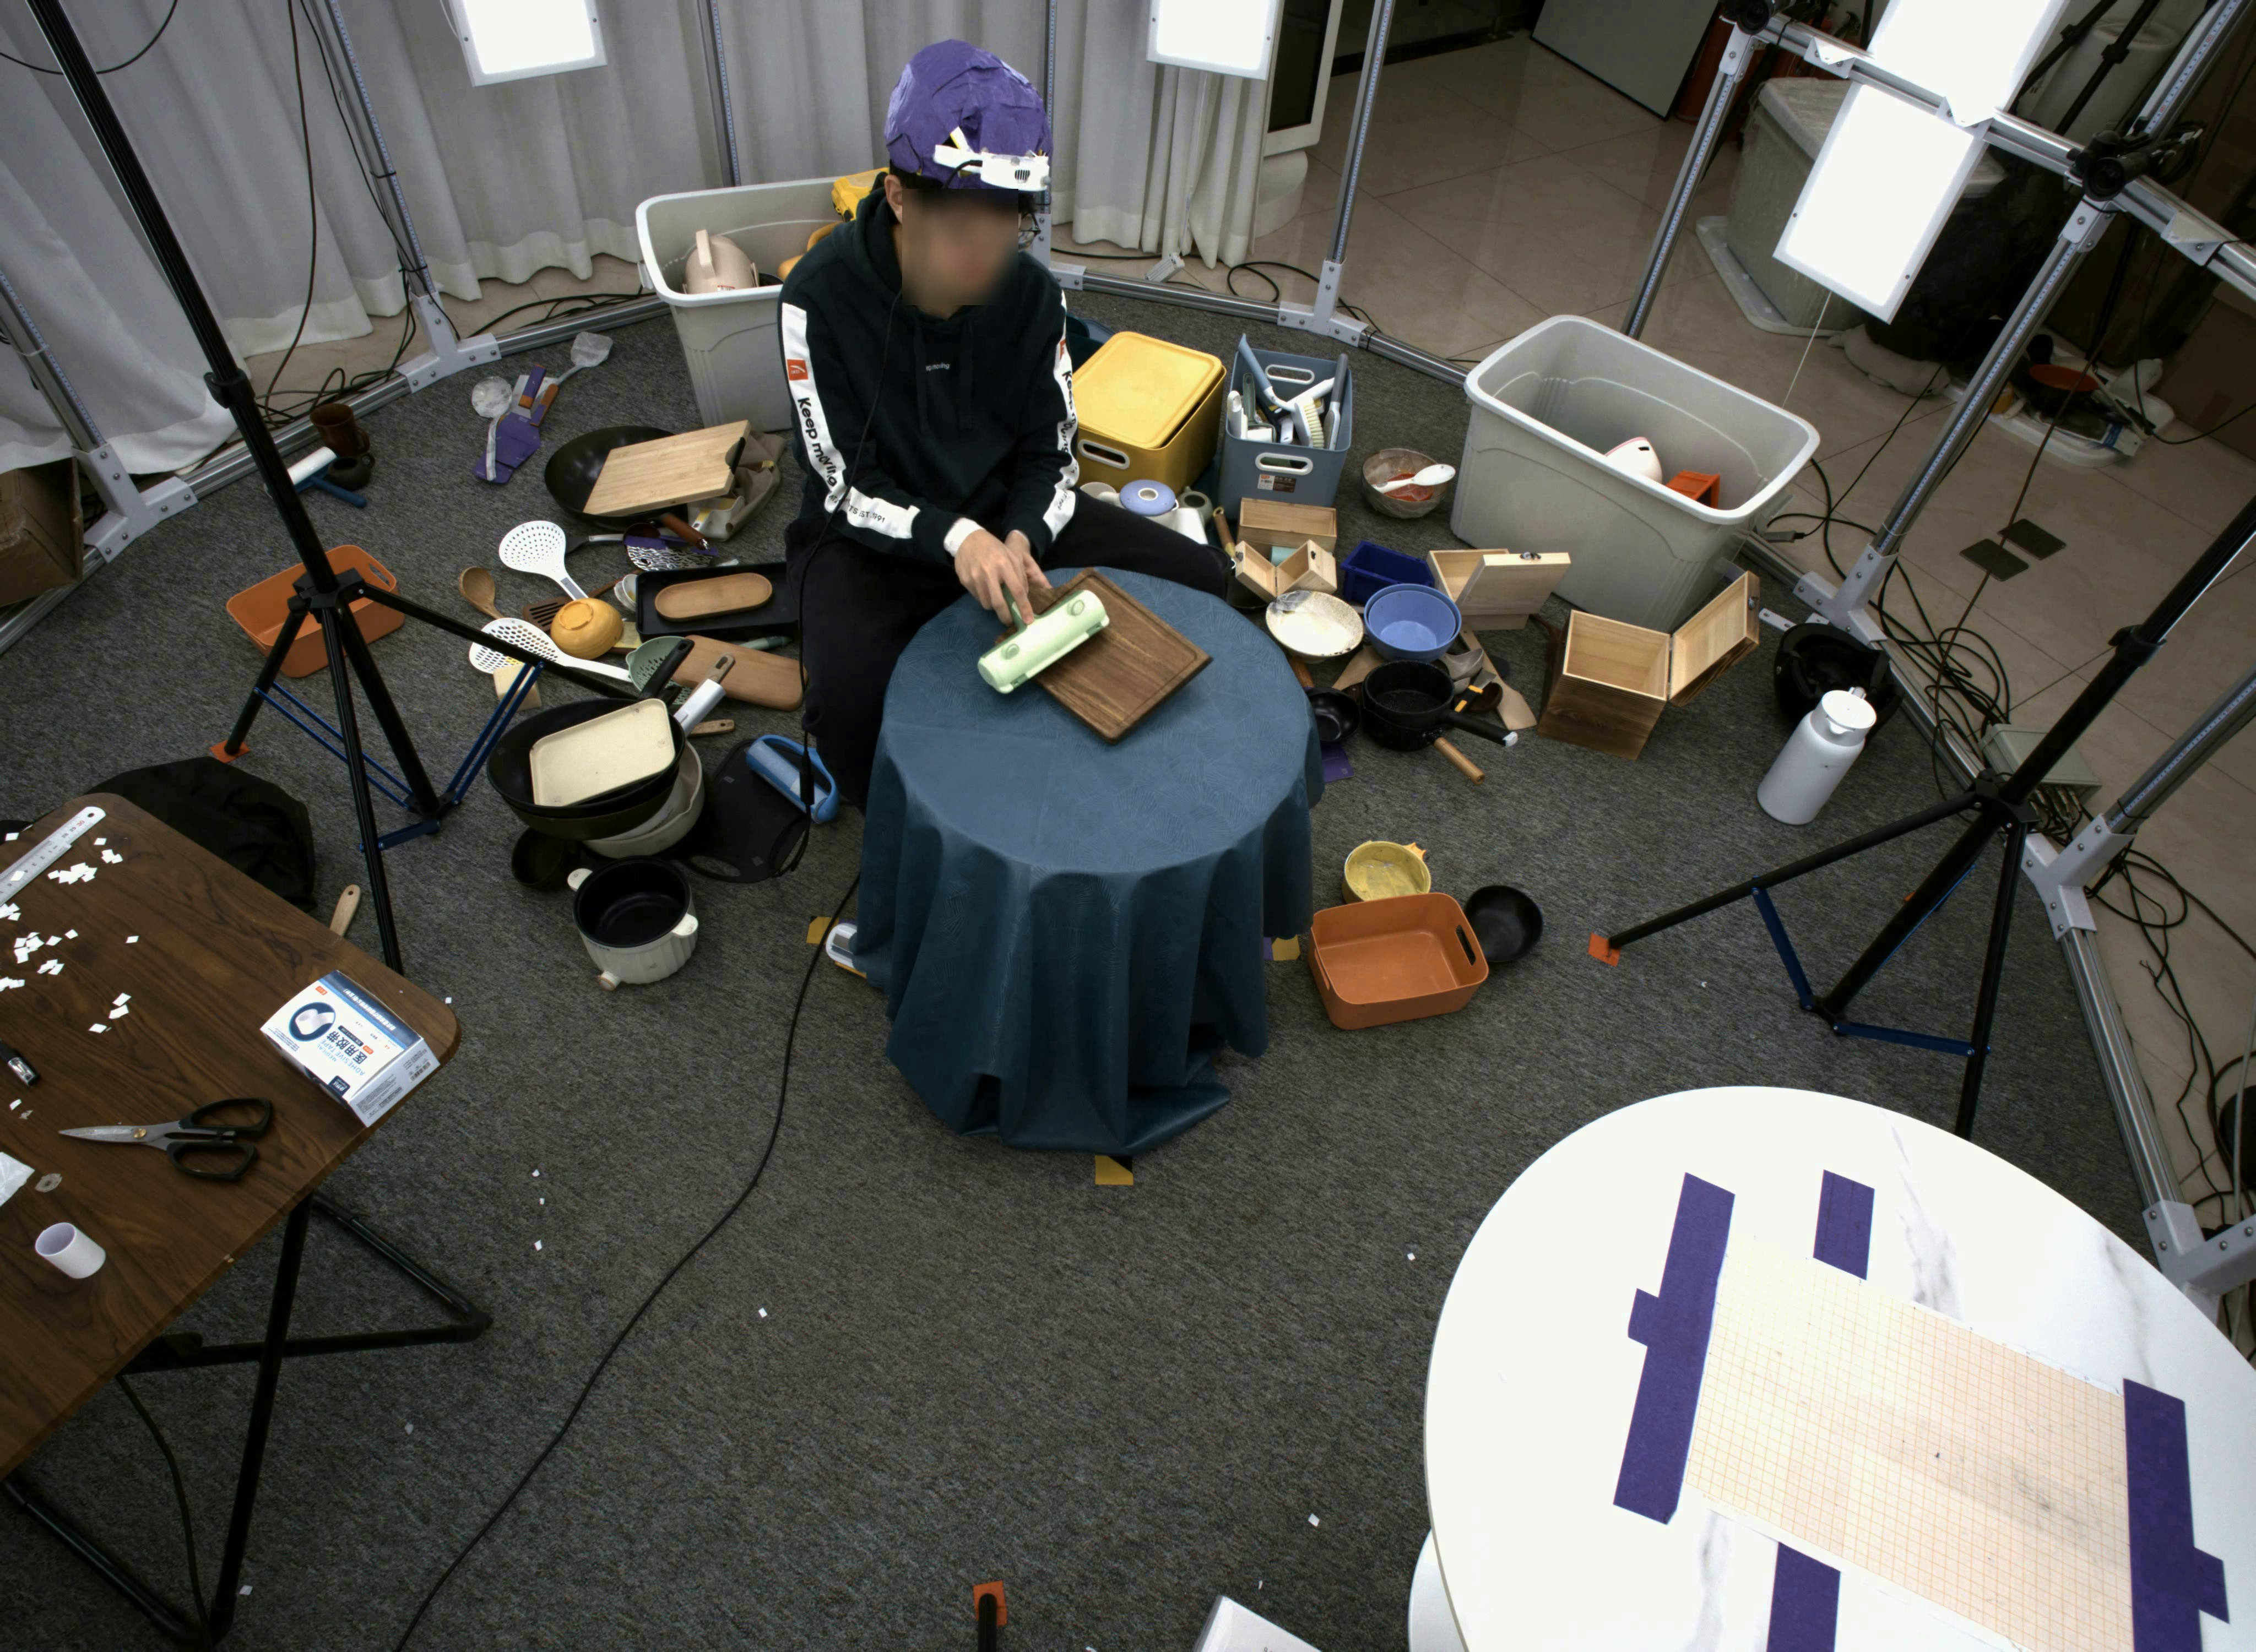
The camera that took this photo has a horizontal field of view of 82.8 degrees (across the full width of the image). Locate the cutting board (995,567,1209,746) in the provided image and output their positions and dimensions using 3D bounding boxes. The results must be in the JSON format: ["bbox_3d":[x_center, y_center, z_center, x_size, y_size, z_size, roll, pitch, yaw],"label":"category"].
[{"bbox_3d":[-0.072,-0.276,1.858,0.202,0.022,0.357,-41,63,-18],"label":"cutting board"}]

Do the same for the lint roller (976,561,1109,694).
[{"bbox_3d":[-0.152,-0.308,1.810,0.200,0.081,0.184,-36,88,-17],"label":"lint roller"}]
